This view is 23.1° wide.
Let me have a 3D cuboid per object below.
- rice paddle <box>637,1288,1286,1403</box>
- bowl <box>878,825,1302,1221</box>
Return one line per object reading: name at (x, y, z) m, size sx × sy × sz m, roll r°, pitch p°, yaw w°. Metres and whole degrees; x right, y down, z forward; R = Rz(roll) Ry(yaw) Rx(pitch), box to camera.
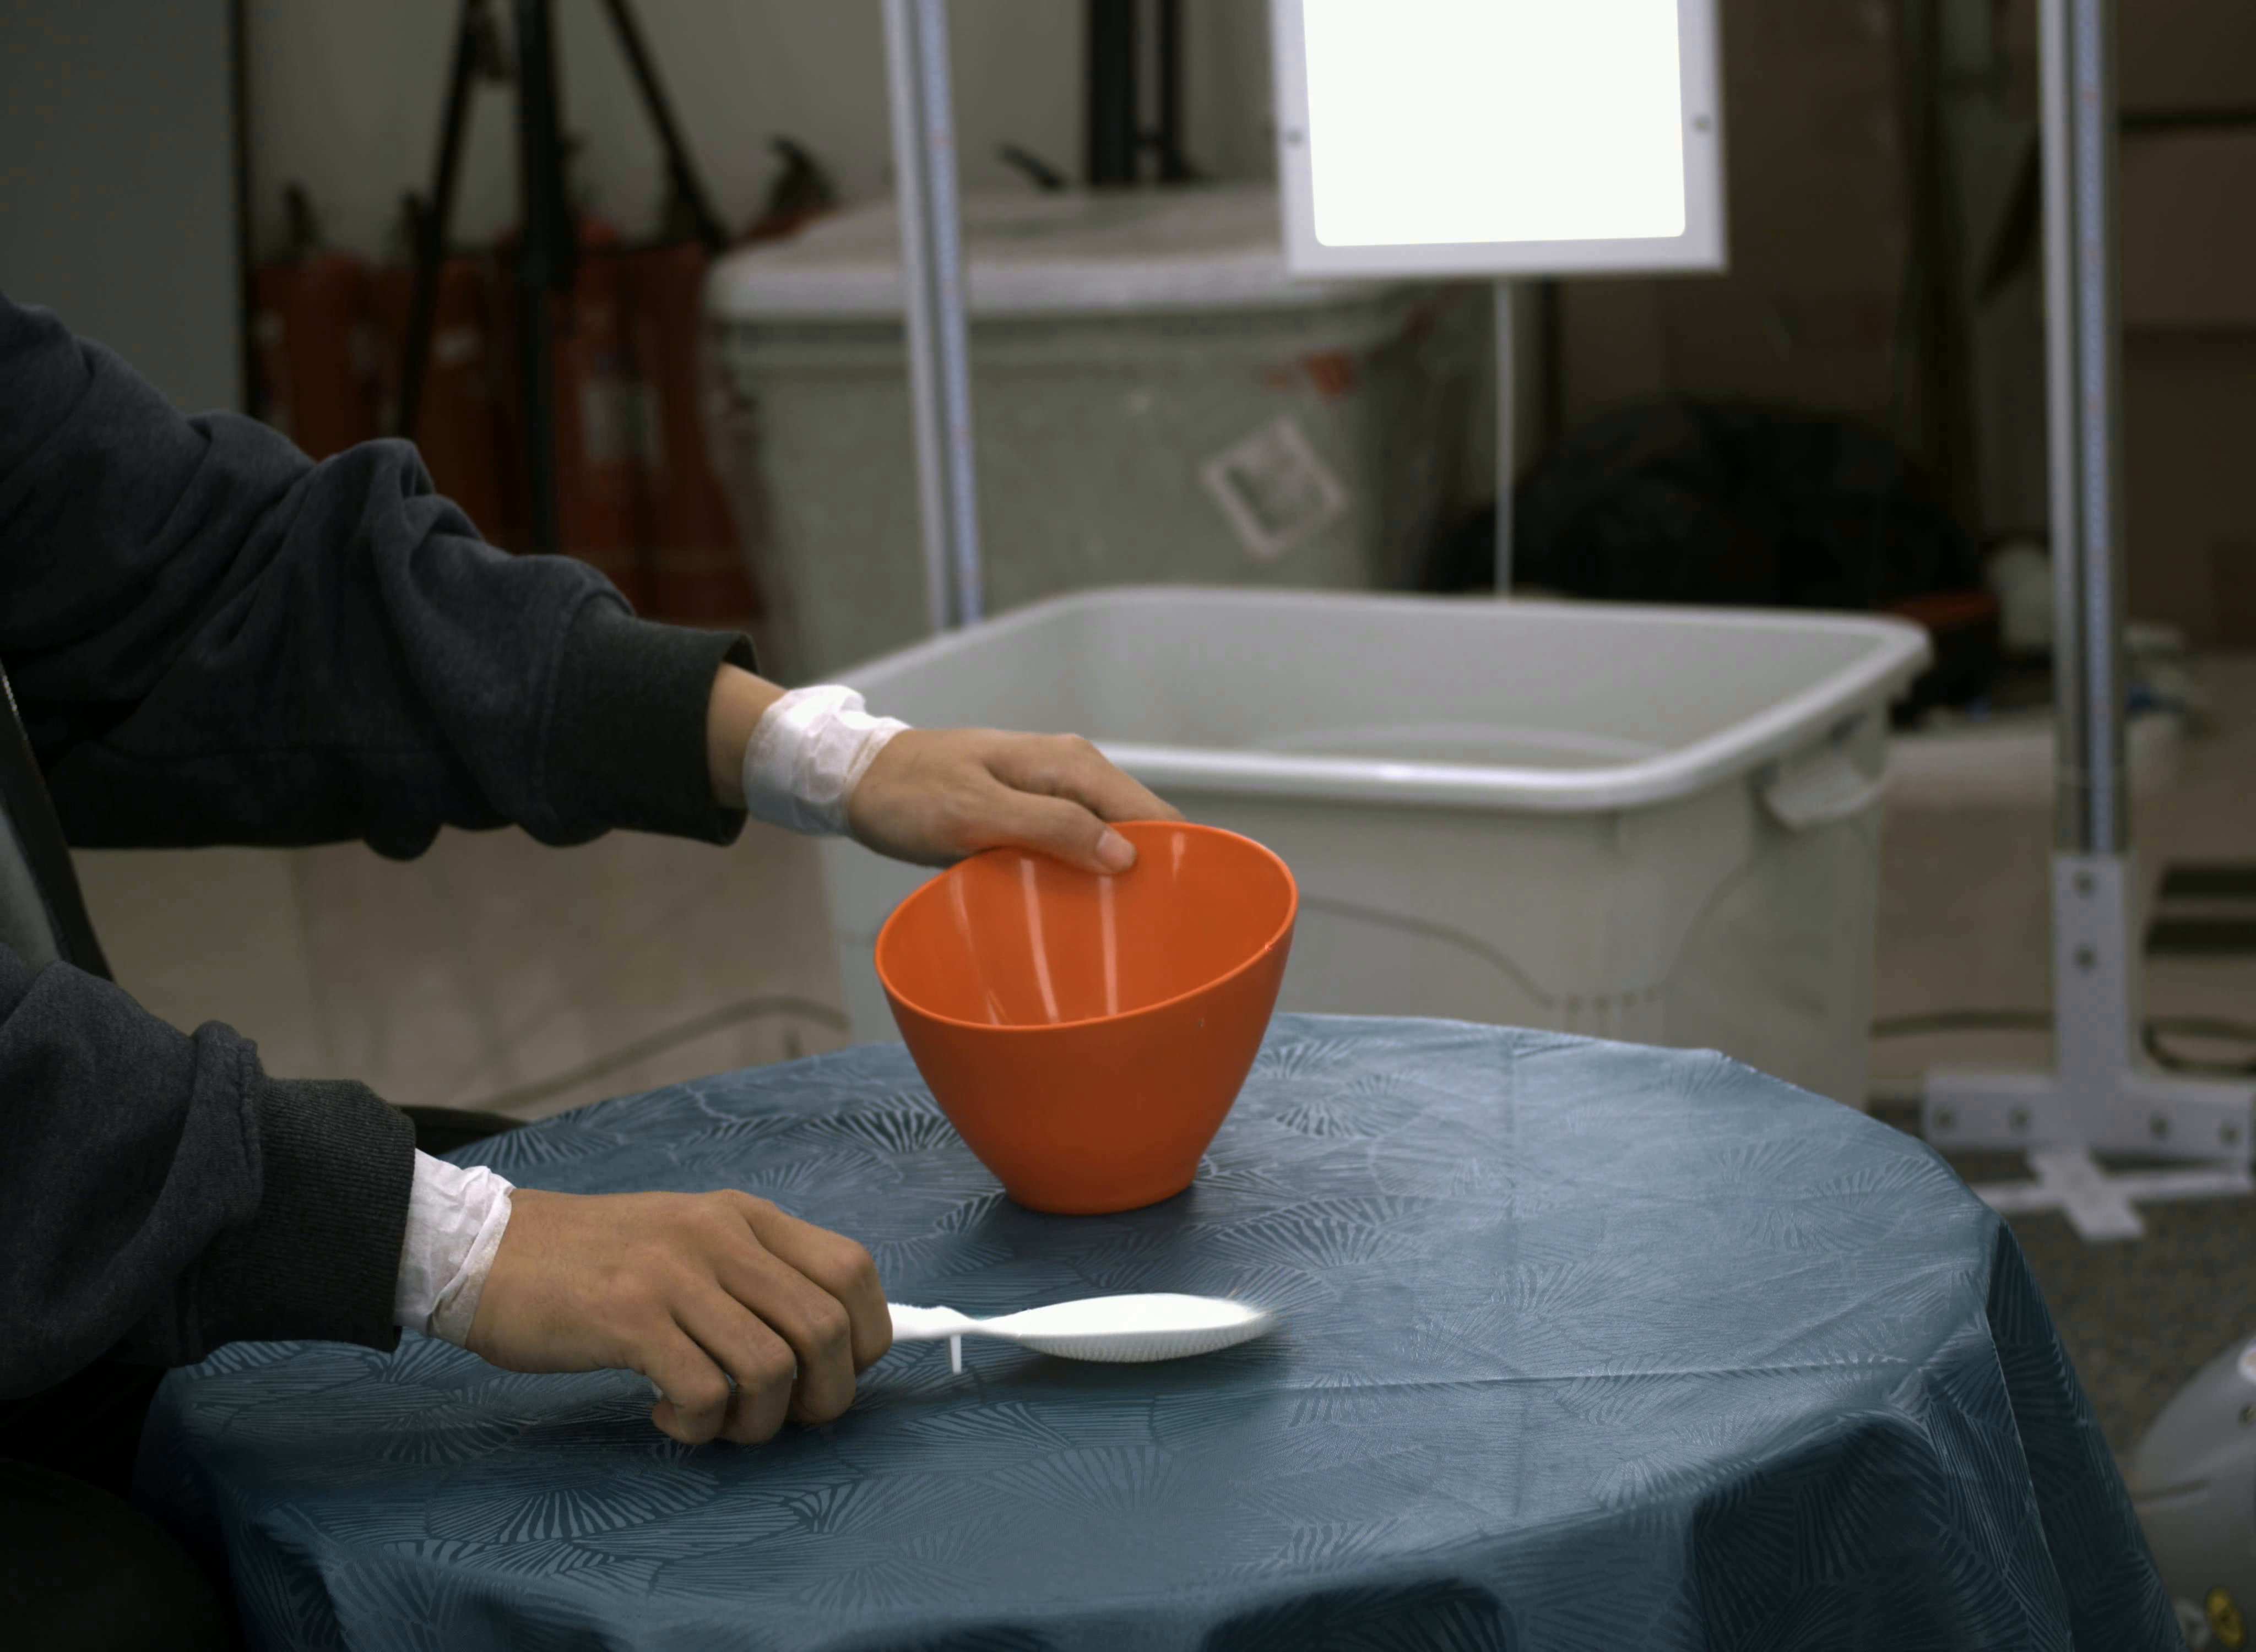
rice paddle at (-0.050, 0.156, 1.716) m, size 0.203 × 0.029 × 0.069 m, roll -4°, pitch 7°, yaw -10°
bowl at (-0.009, 0.072, 1.901) m, size 0.148 × 0.105 × 0.148 m, roll -6°, pitch 18°, yaw 1°
